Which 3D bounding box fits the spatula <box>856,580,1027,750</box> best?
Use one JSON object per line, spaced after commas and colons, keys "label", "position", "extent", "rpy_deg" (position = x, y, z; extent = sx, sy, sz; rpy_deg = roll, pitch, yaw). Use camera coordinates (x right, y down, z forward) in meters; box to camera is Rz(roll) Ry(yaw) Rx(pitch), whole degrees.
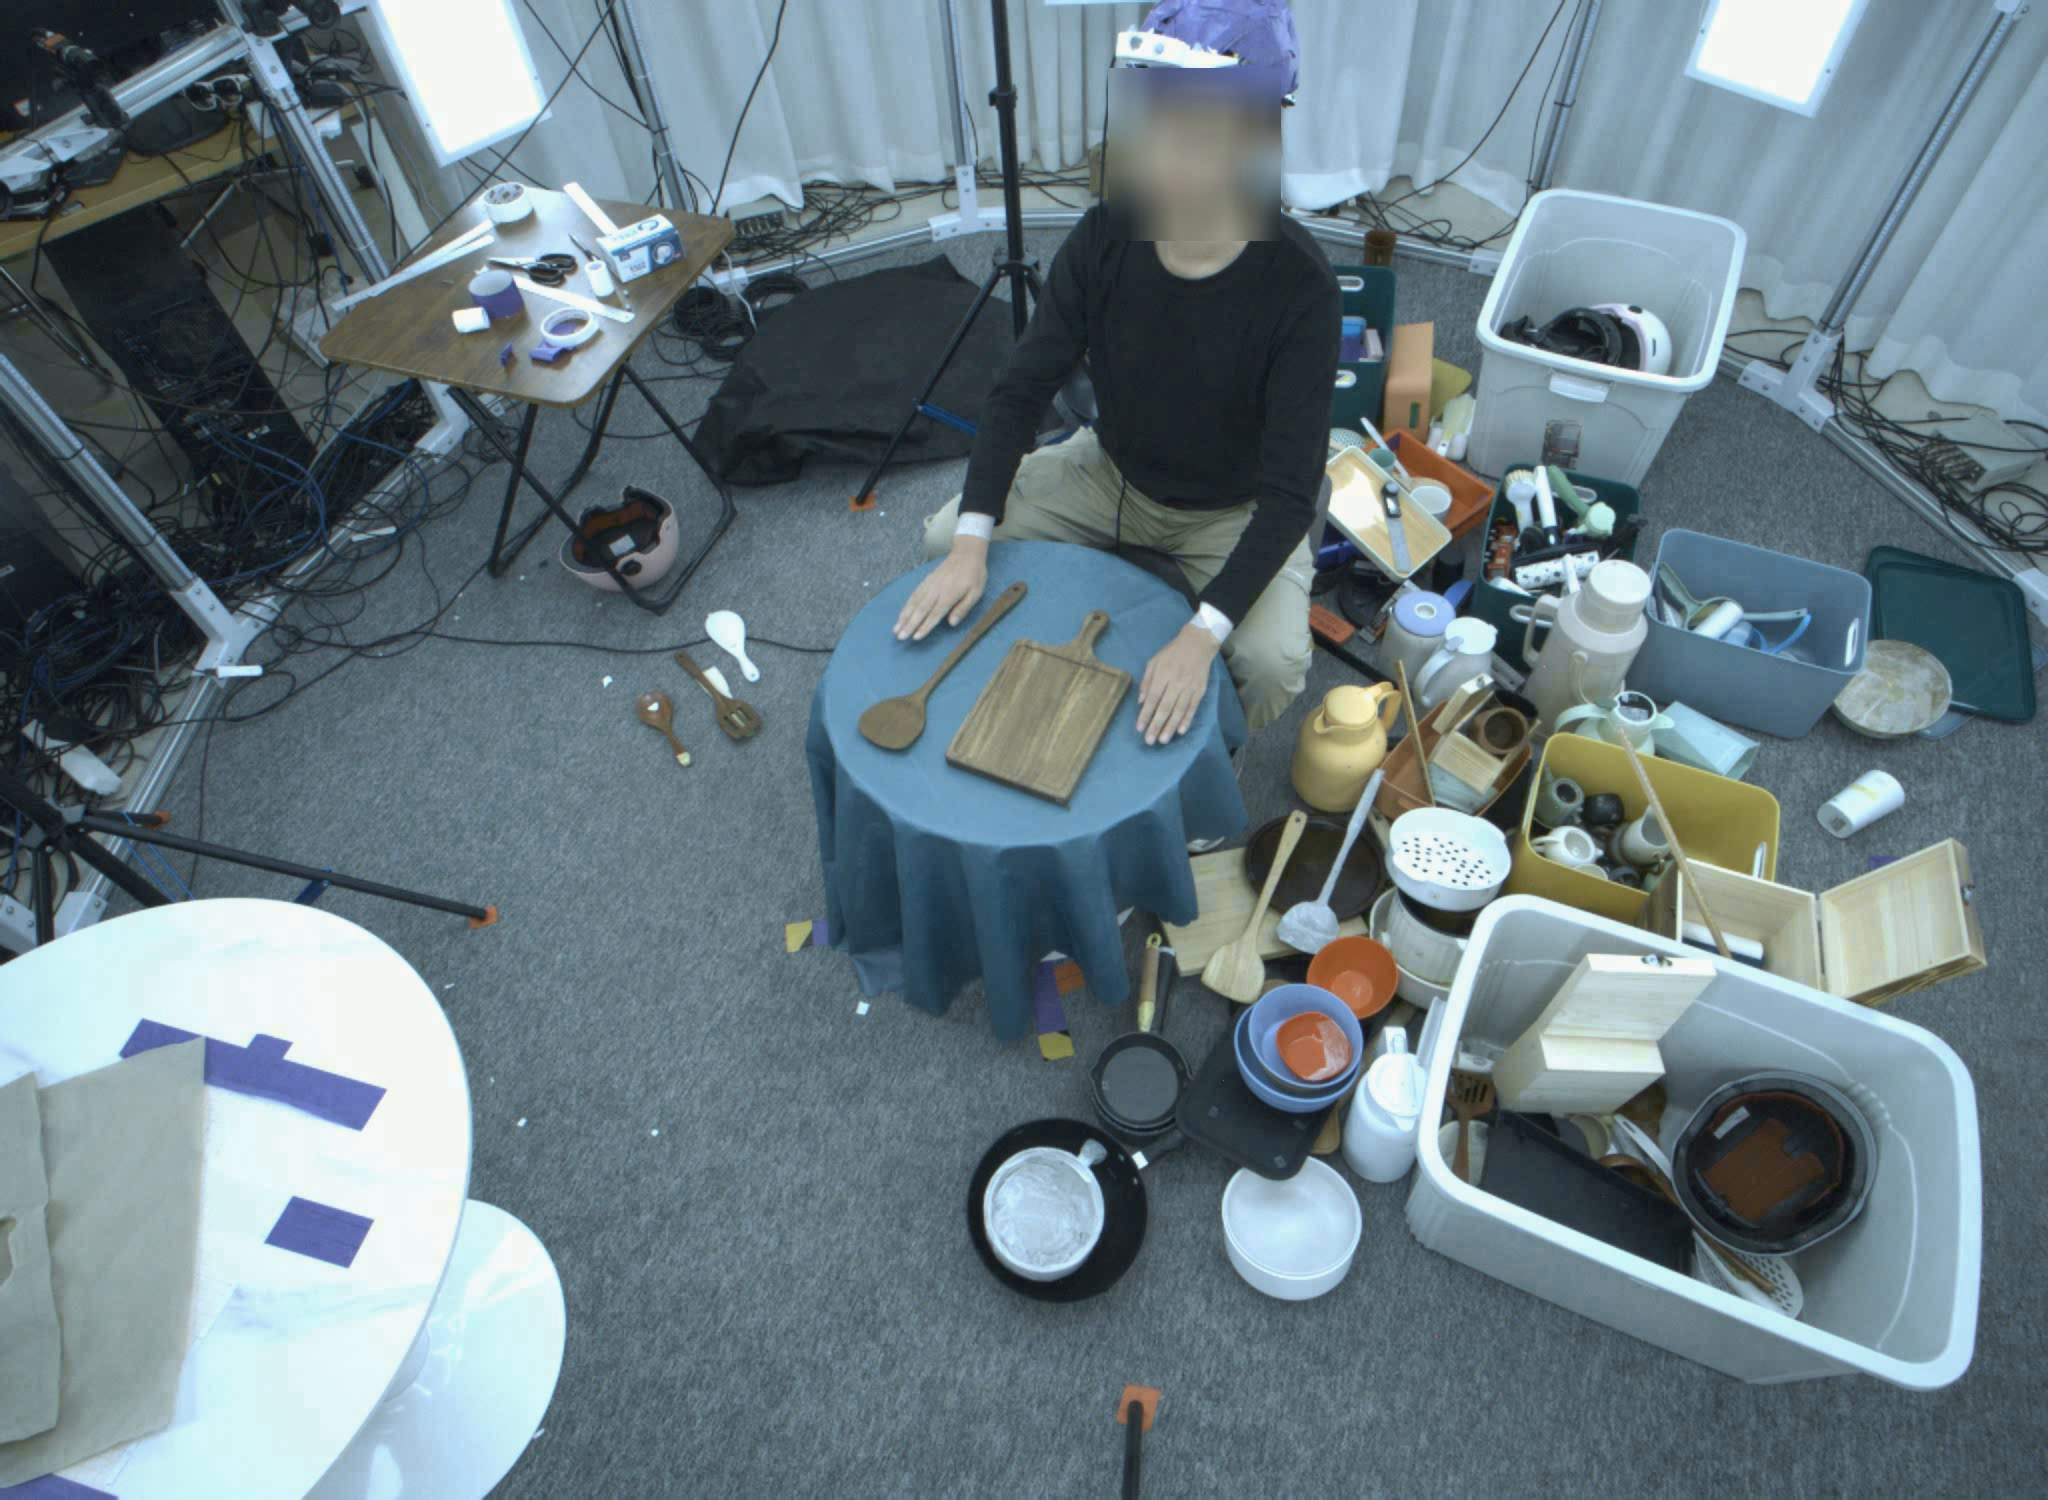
{"label": "spatula", "position": [-0.110, -0.141, 1.882], "extent": [0.094, 0.016, 0.387], "rpy_deg": [29, 60, 20]}

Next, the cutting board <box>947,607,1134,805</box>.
{"label": "cutting board", "position": [0.047, -0.085, 1.834], "extent": [0.199, 0.023, 0.352], "rpy_deg": [20, 58, 15]}
